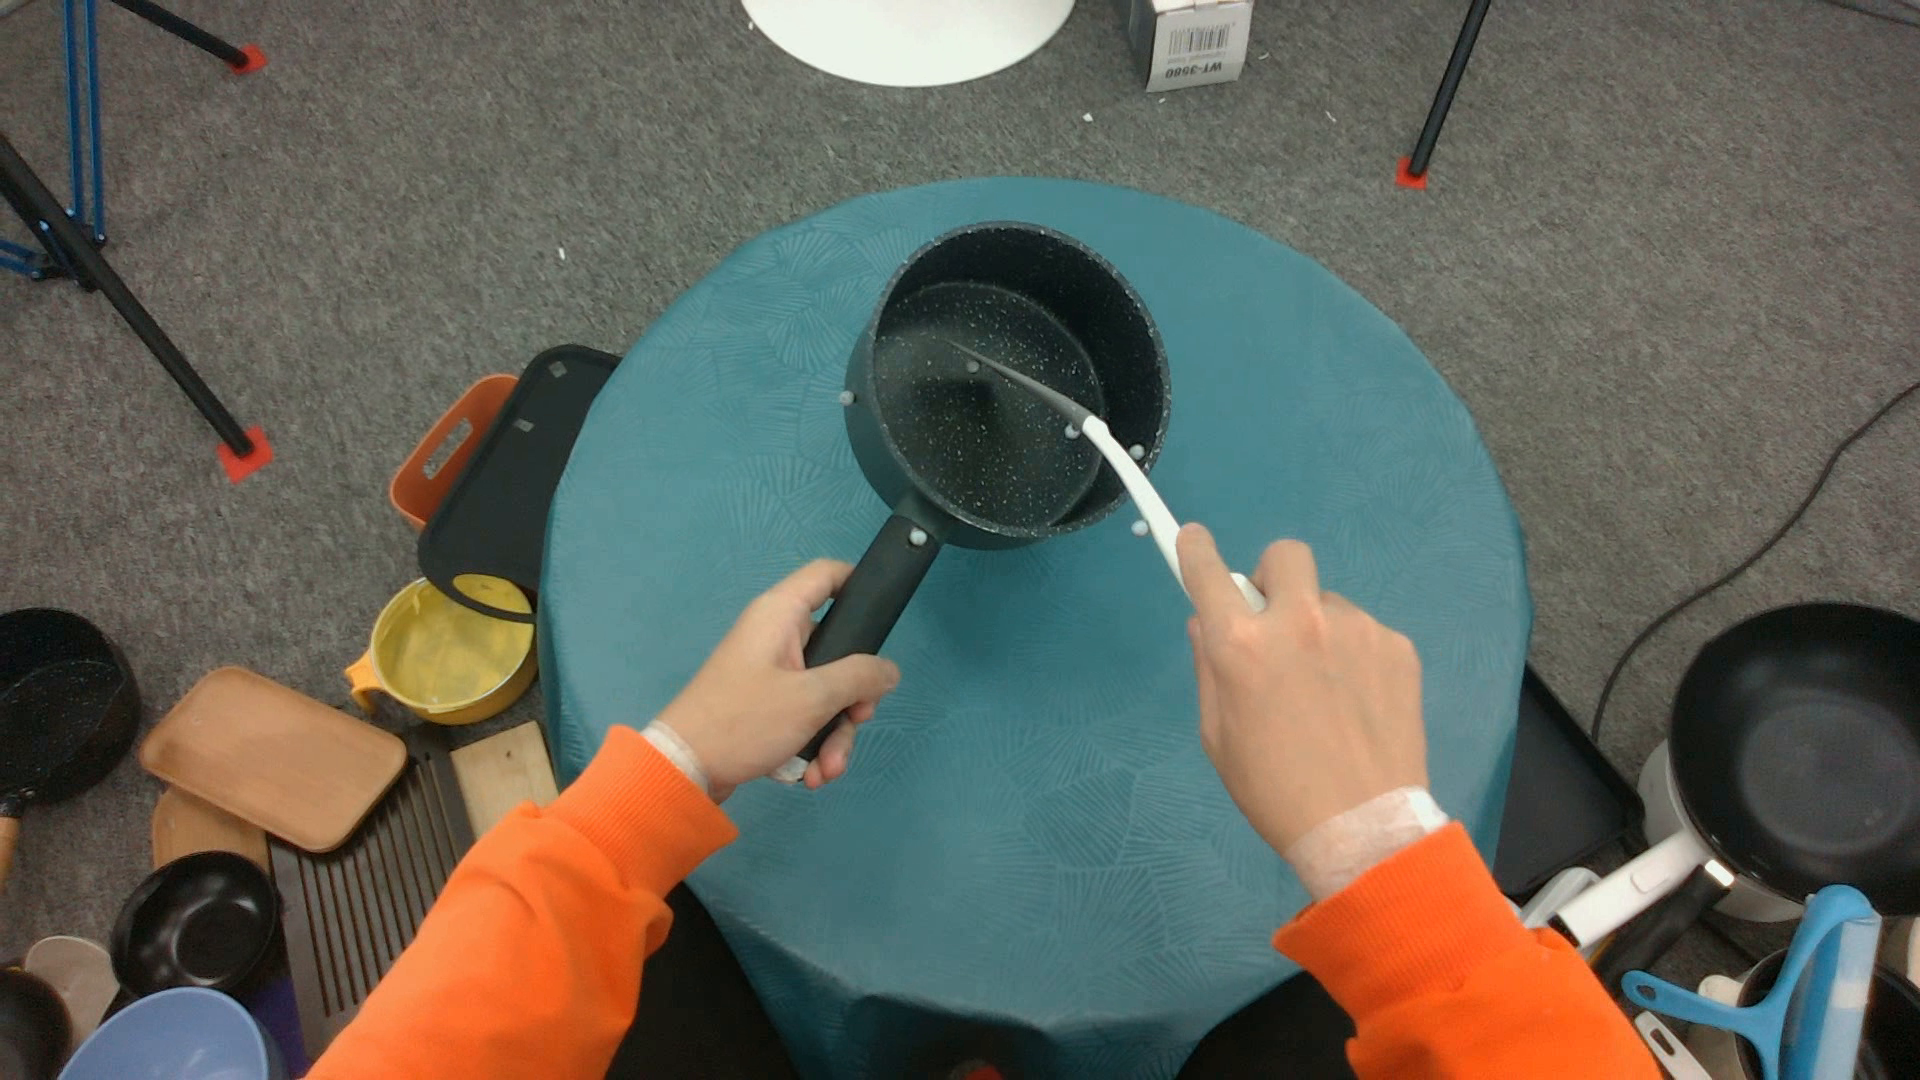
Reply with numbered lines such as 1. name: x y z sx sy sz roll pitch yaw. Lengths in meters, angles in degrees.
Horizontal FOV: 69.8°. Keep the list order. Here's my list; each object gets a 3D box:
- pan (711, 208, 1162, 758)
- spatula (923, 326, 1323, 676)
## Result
1. pan: -0.024 -0.025 0.723 0.172 0.086 0.330 38 69 -8
2. spatula: 0.071 -0.036 0.677 0.059 0.032 0.288 14 26 -44
